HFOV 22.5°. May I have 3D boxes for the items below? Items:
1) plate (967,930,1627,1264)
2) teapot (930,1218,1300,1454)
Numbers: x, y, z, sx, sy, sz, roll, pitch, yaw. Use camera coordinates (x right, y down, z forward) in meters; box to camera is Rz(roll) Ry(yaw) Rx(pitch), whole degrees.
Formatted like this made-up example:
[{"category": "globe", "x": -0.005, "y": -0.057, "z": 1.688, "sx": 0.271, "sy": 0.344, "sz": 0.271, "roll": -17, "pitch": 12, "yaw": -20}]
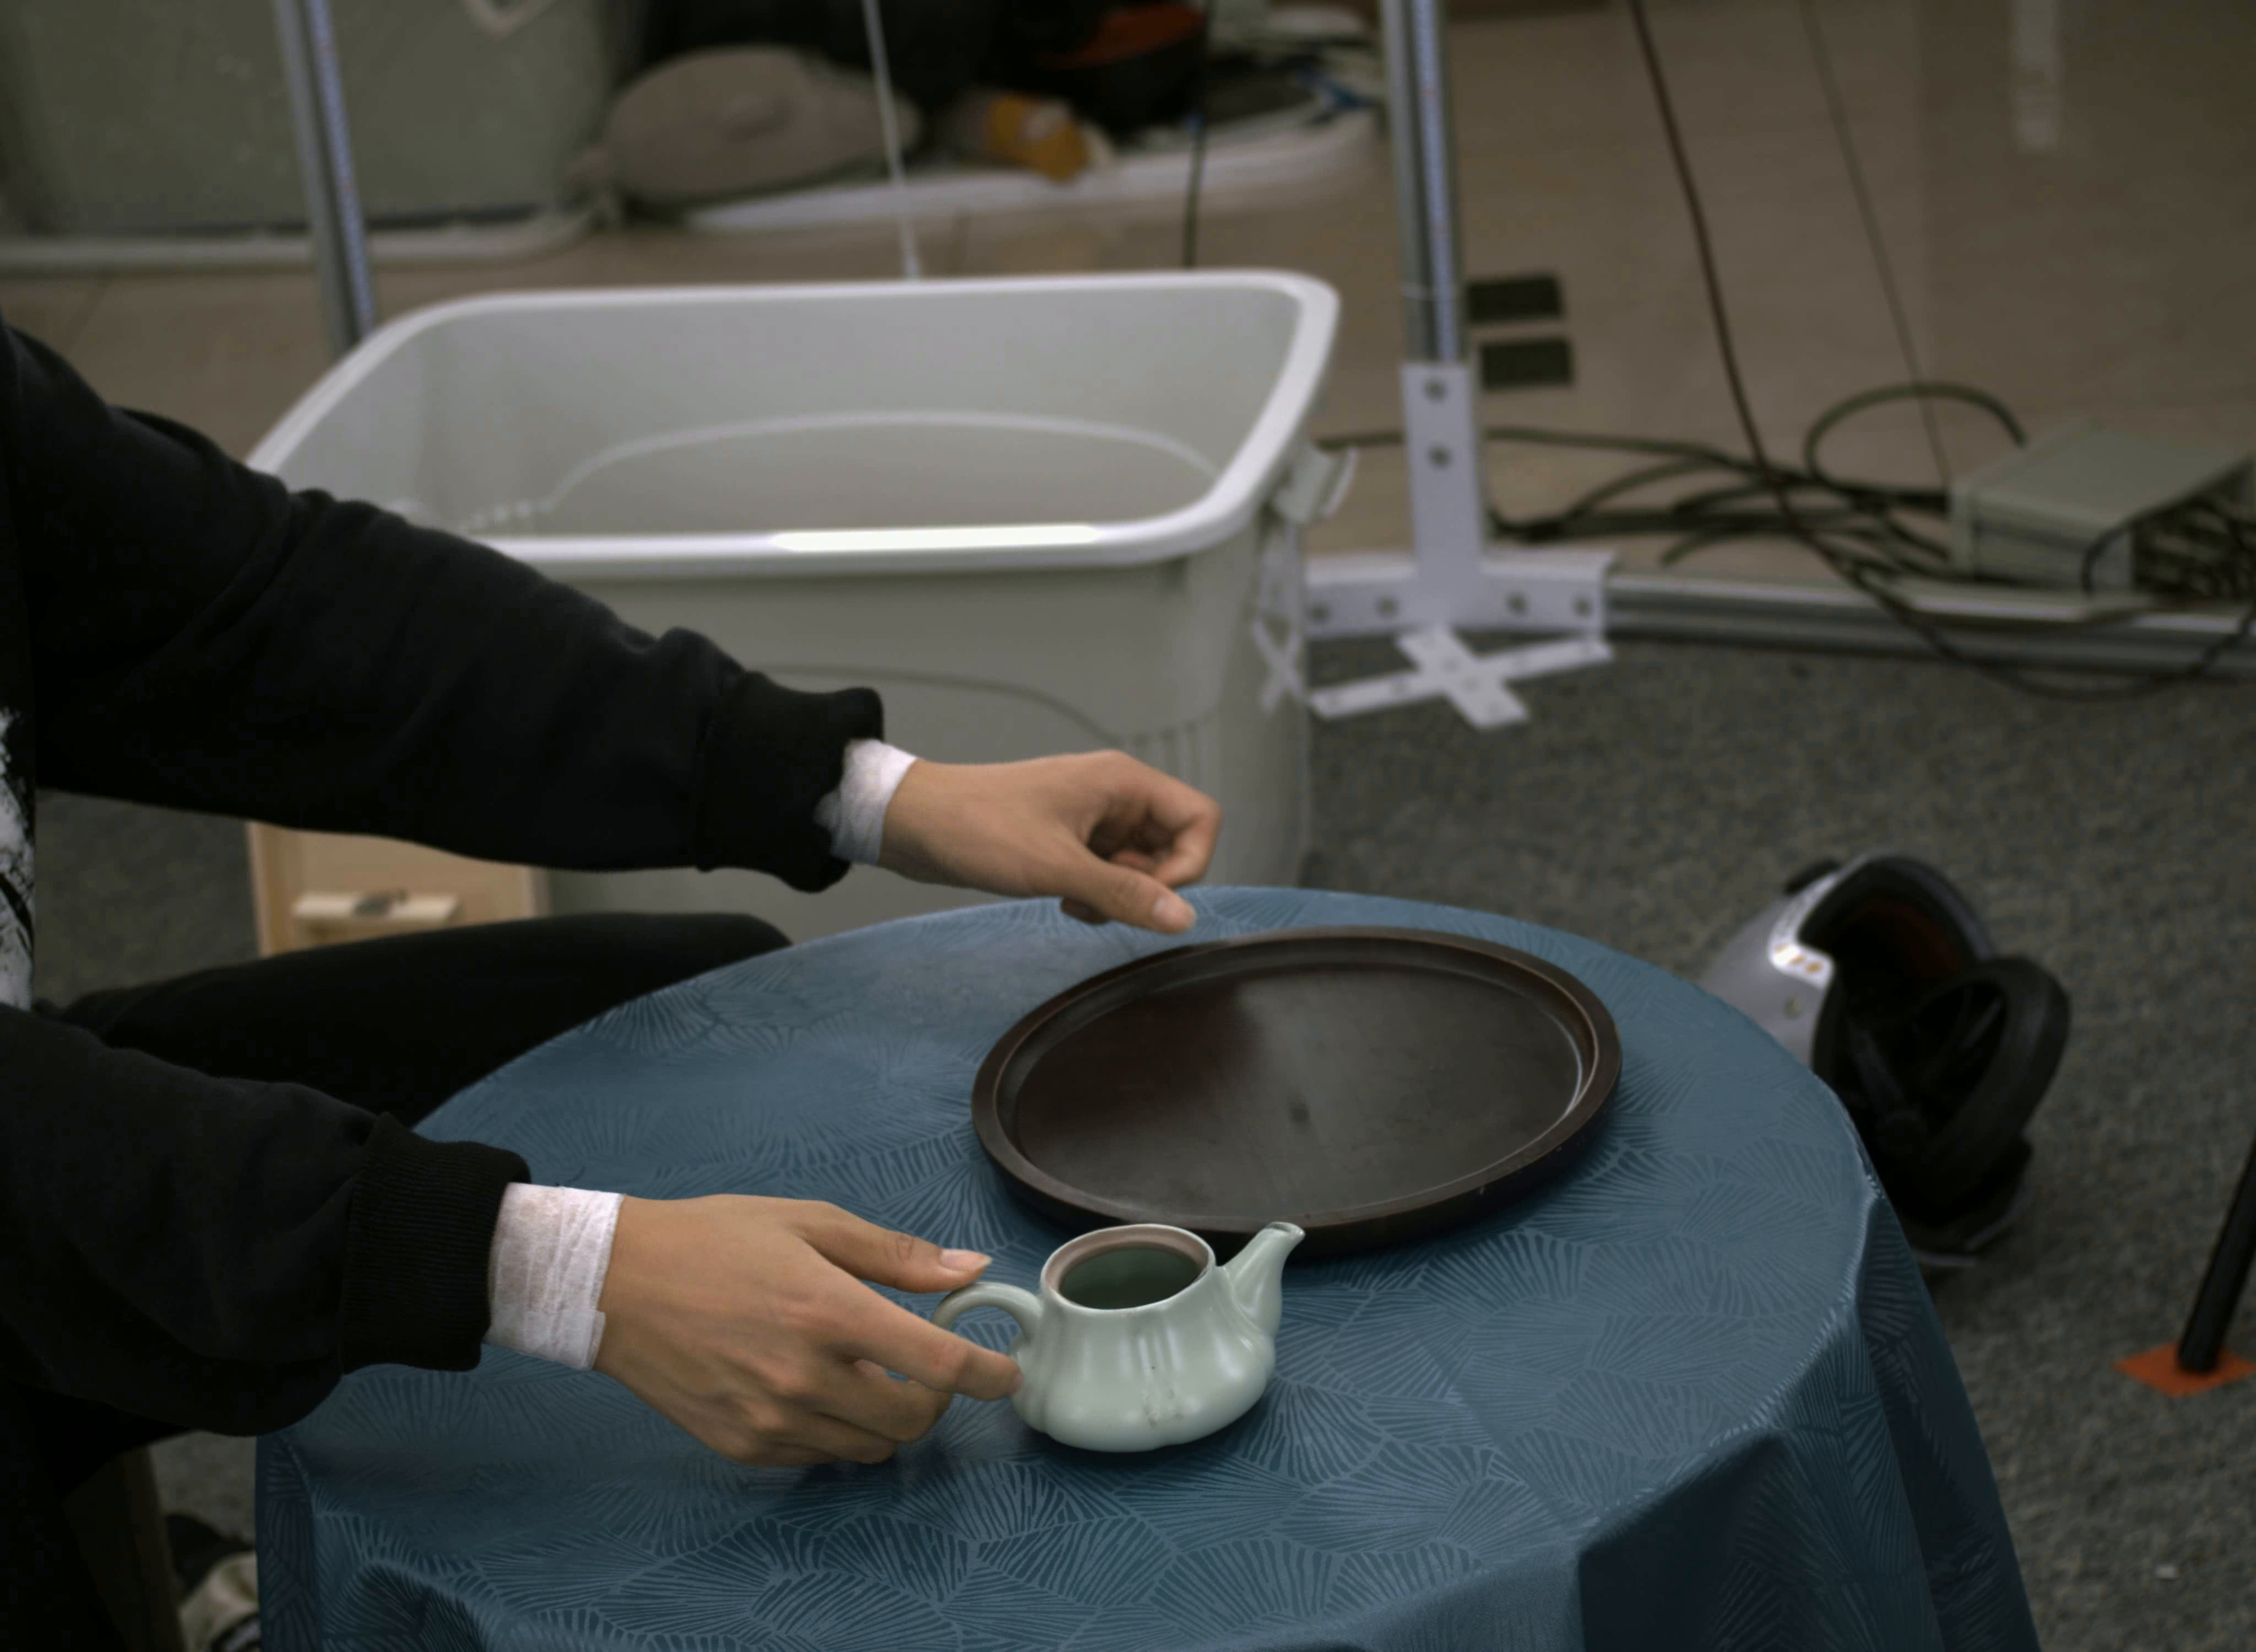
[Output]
[{"category": "plate", "x": 0.066, "y": 0.102, "z": 2.184, "sx": 0.254, "sy": 0.029, "sz": 0.251, "roll": -5, "pitch": 26, "yaw": 2}, {"category": "teapot", "x": -0.002, "y": 0.179, "z": 1.993, "sx": 0.136, "sy": 0.062, "sz": 0.095, "roll": -11, "pitch": 27, "yaw": -11}]
